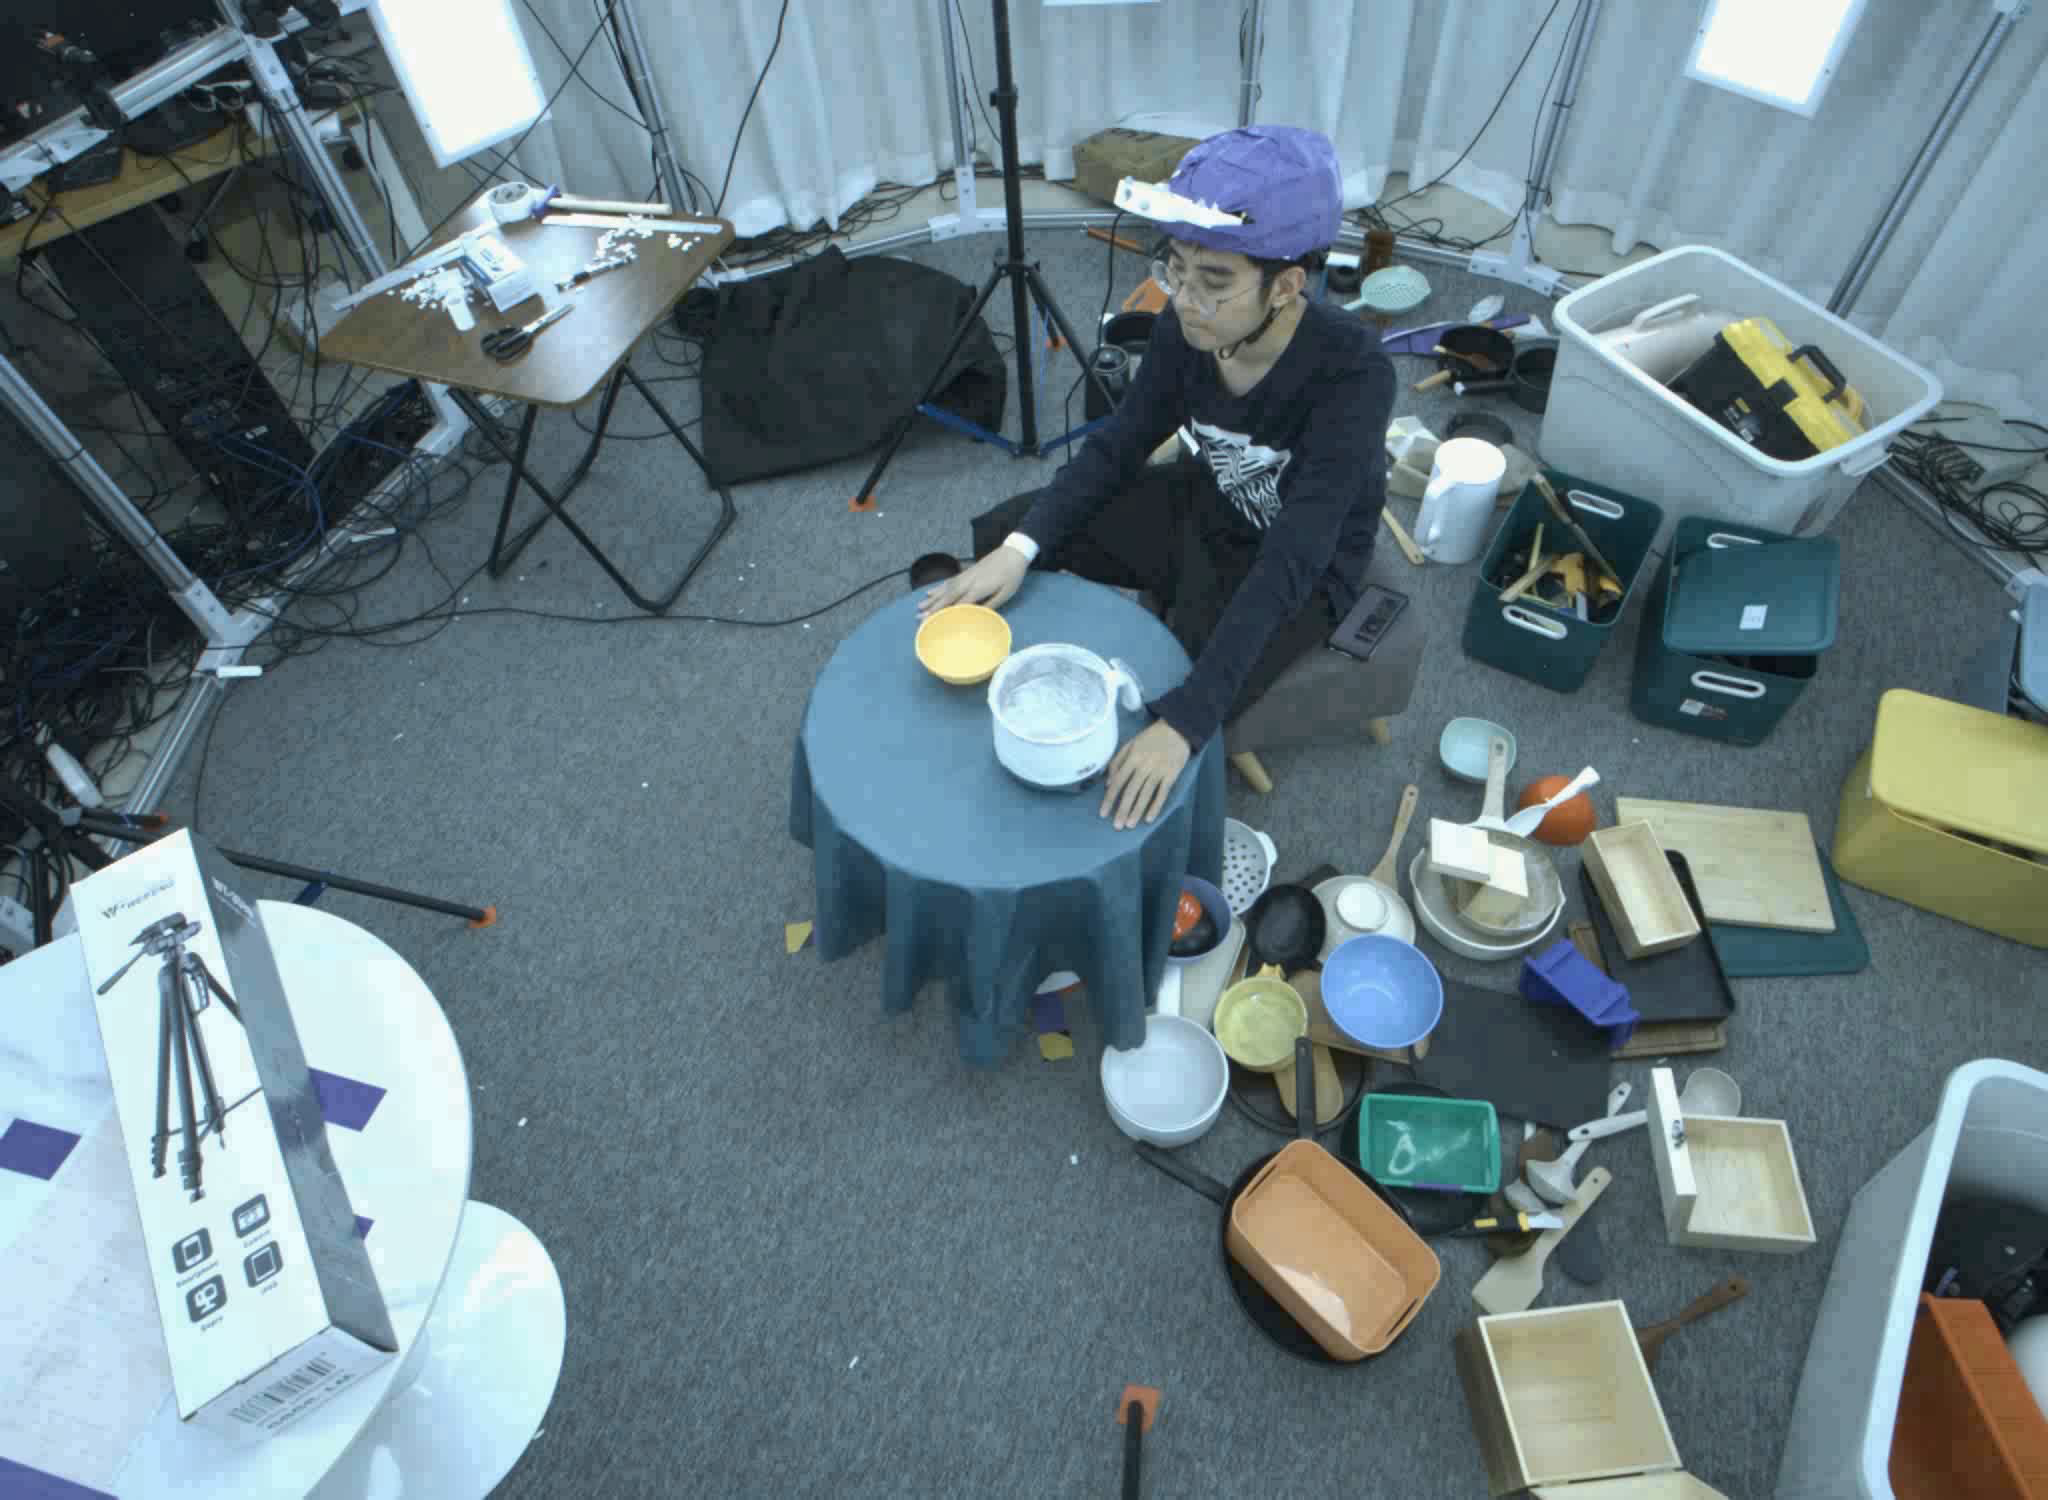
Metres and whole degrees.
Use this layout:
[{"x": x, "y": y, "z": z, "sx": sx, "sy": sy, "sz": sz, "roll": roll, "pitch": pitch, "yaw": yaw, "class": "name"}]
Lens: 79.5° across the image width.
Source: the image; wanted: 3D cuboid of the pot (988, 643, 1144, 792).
[{"x": 0.066, "y": -0.056, "z": 1.748, "sx": 0.235, "sy": 0.138, "sz": 0.175, "roll": -28, "pitch": 60, "yaw": -16, "class": "pot"}]

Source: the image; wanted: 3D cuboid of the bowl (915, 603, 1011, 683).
[{"x": -0.091, "y": -0.152, "z": 1.867, "sx": 0.145, "sy": 0.061, "sz": 0.144, "roll": 0, "pitch": 56, "yaw": 2, "class": "bowl"}]
